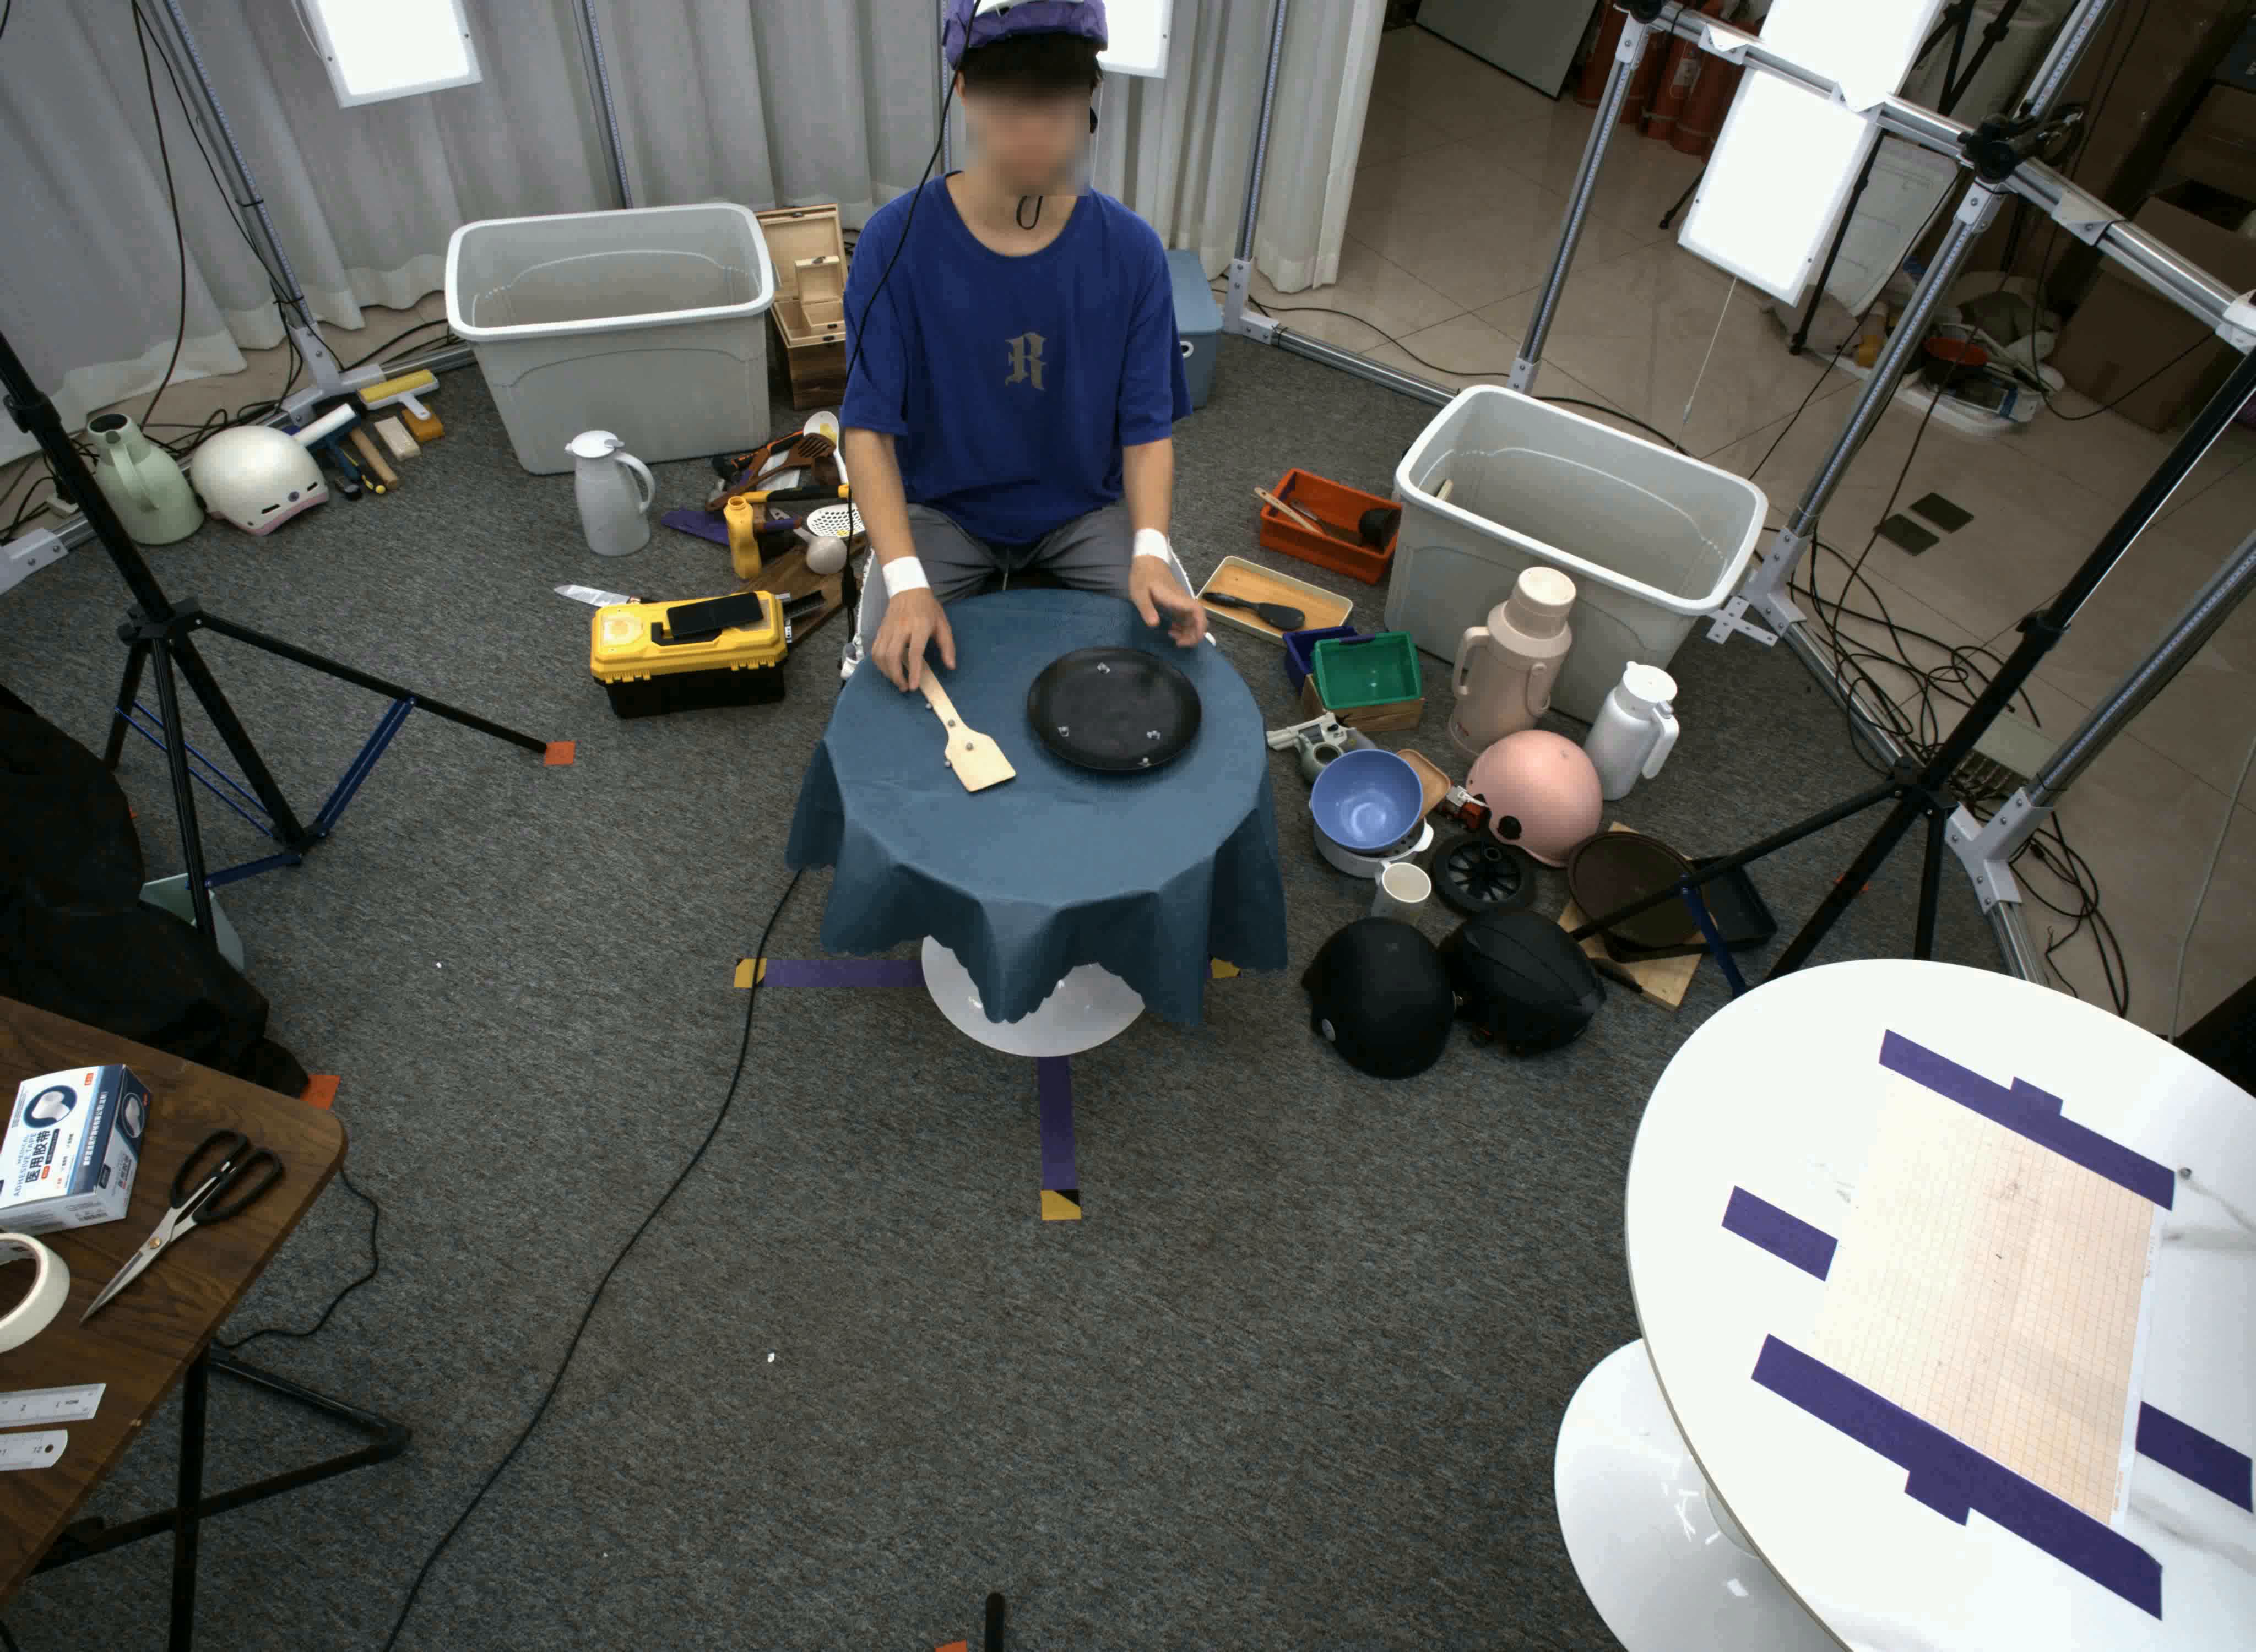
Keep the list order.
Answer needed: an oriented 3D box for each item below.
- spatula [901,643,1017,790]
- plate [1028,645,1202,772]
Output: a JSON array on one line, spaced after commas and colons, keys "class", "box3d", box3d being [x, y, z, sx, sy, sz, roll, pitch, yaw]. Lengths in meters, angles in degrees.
[{"class": "spatula", "box3d": [-0.249, -0.159, 1.788, 0.072, 0.010, 0.299, -22, 55, -19]}, {"class": "plate", "box3d": [-0.018, -0.163, 1.797, 0.244, 0.023, 0.250, 1, 50, -2]}]
